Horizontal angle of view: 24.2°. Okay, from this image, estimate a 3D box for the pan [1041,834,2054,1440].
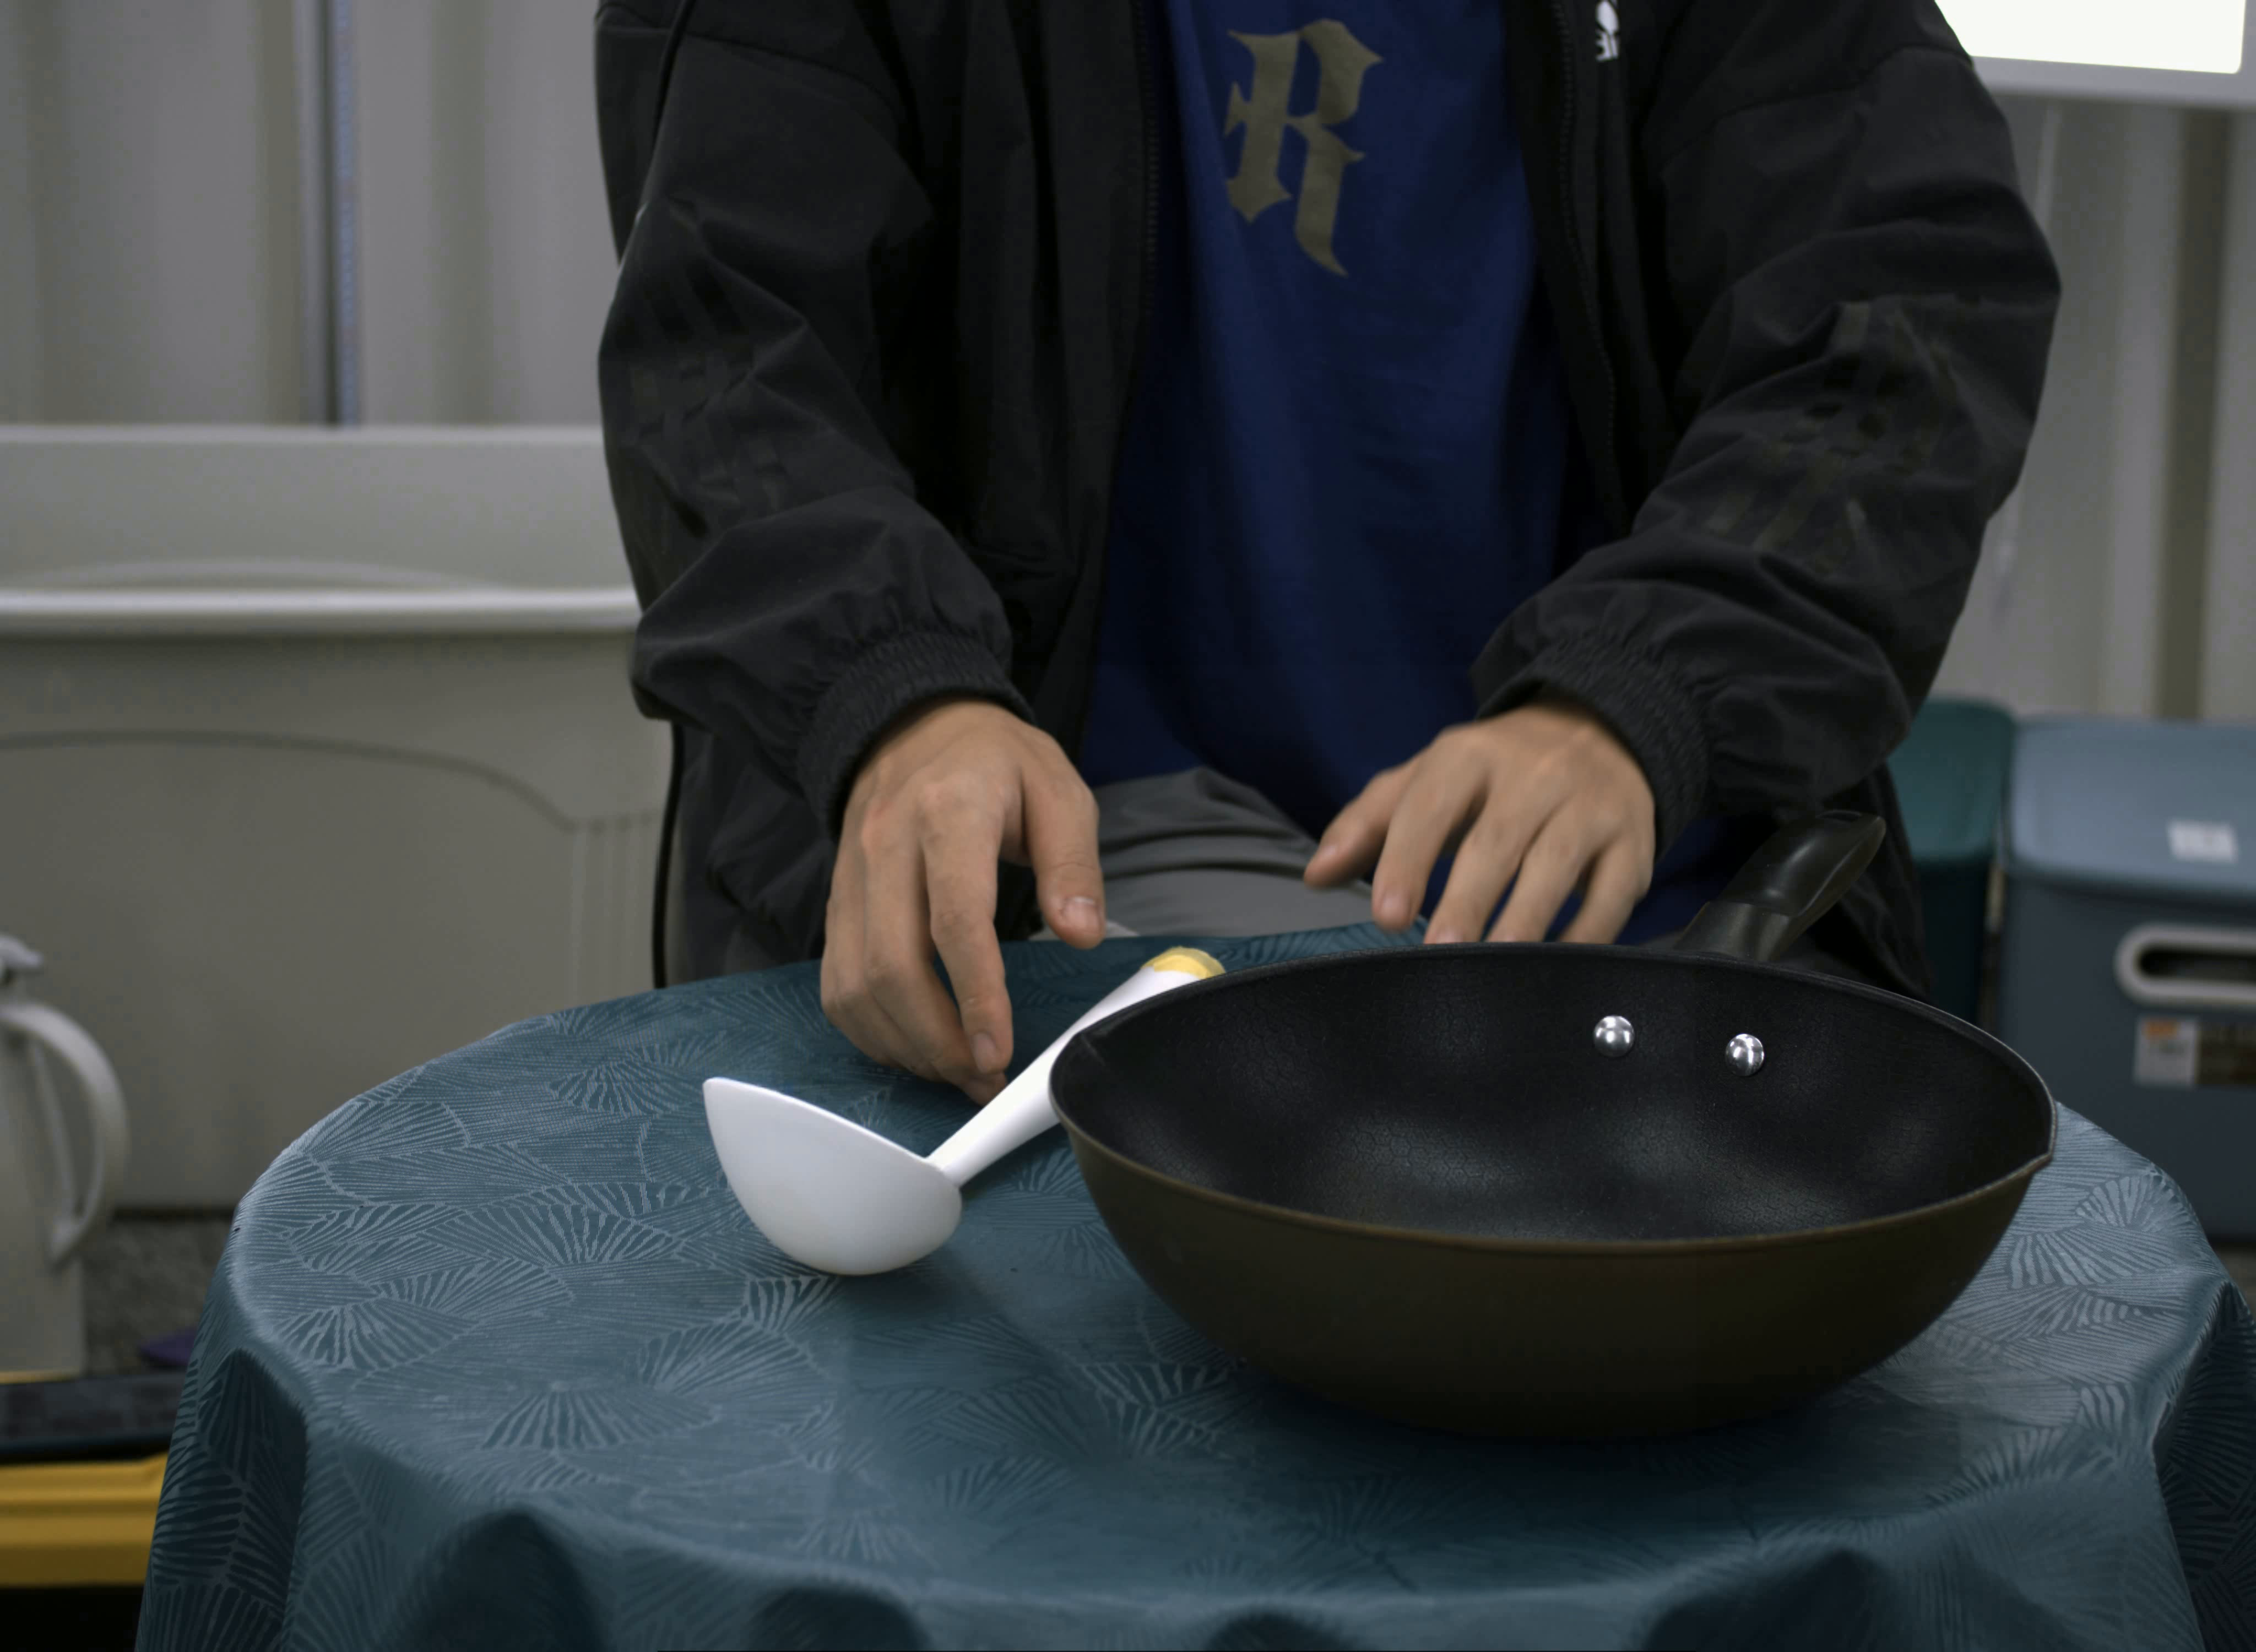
[{"bbox_3d":[0.151,0.088,1.565,0.285,0.087,0.464,7,15,21],"label":"pan"}]

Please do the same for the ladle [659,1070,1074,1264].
[{"bbox_3d":[-0.038,0.078,1.633,0.089,0.070,0.294,8,14,29],"label":"ladle"}]
